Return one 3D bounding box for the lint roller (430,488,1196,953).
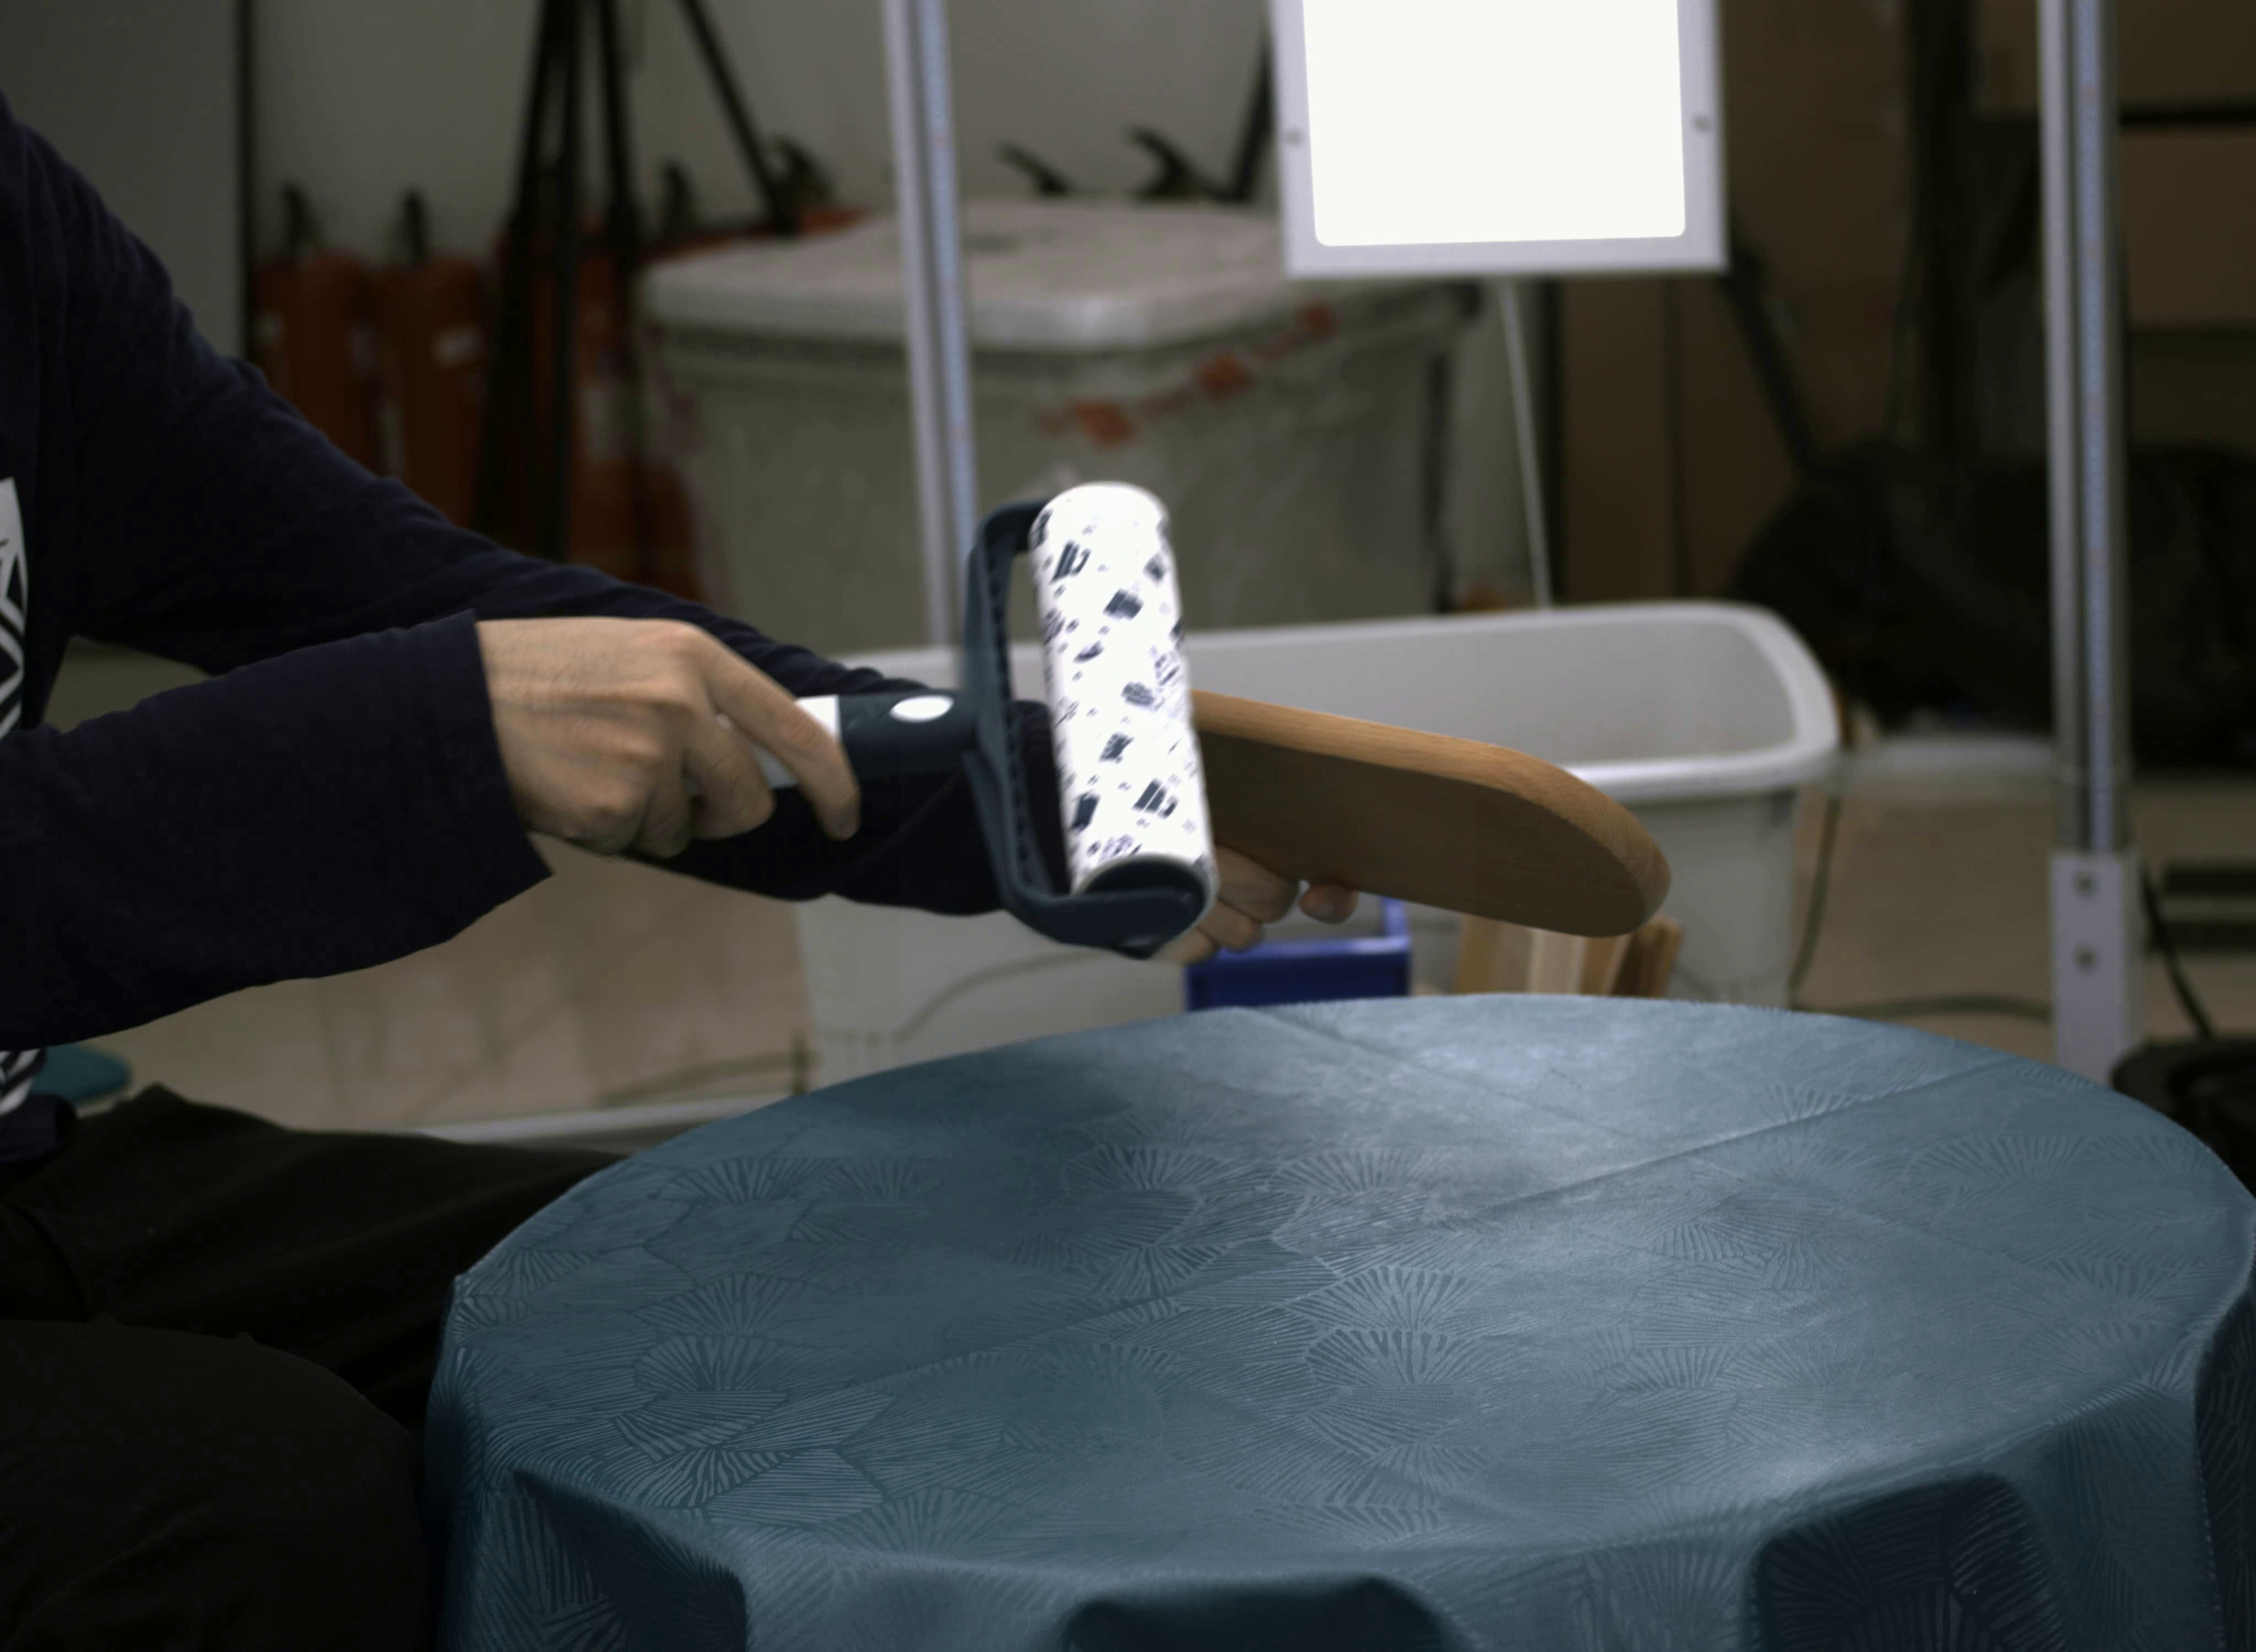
[{"bbox_3d":[-0.106,-0.026,1.801,0.246,0.050,0.176,-6,52,0],"label":"lint roller"}]

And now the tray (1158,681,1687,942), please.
[{"bbox_3d":[0.085,-0.004,1.886,0.235,0.100,0.020,13,64,34],"label":"tray"}]
